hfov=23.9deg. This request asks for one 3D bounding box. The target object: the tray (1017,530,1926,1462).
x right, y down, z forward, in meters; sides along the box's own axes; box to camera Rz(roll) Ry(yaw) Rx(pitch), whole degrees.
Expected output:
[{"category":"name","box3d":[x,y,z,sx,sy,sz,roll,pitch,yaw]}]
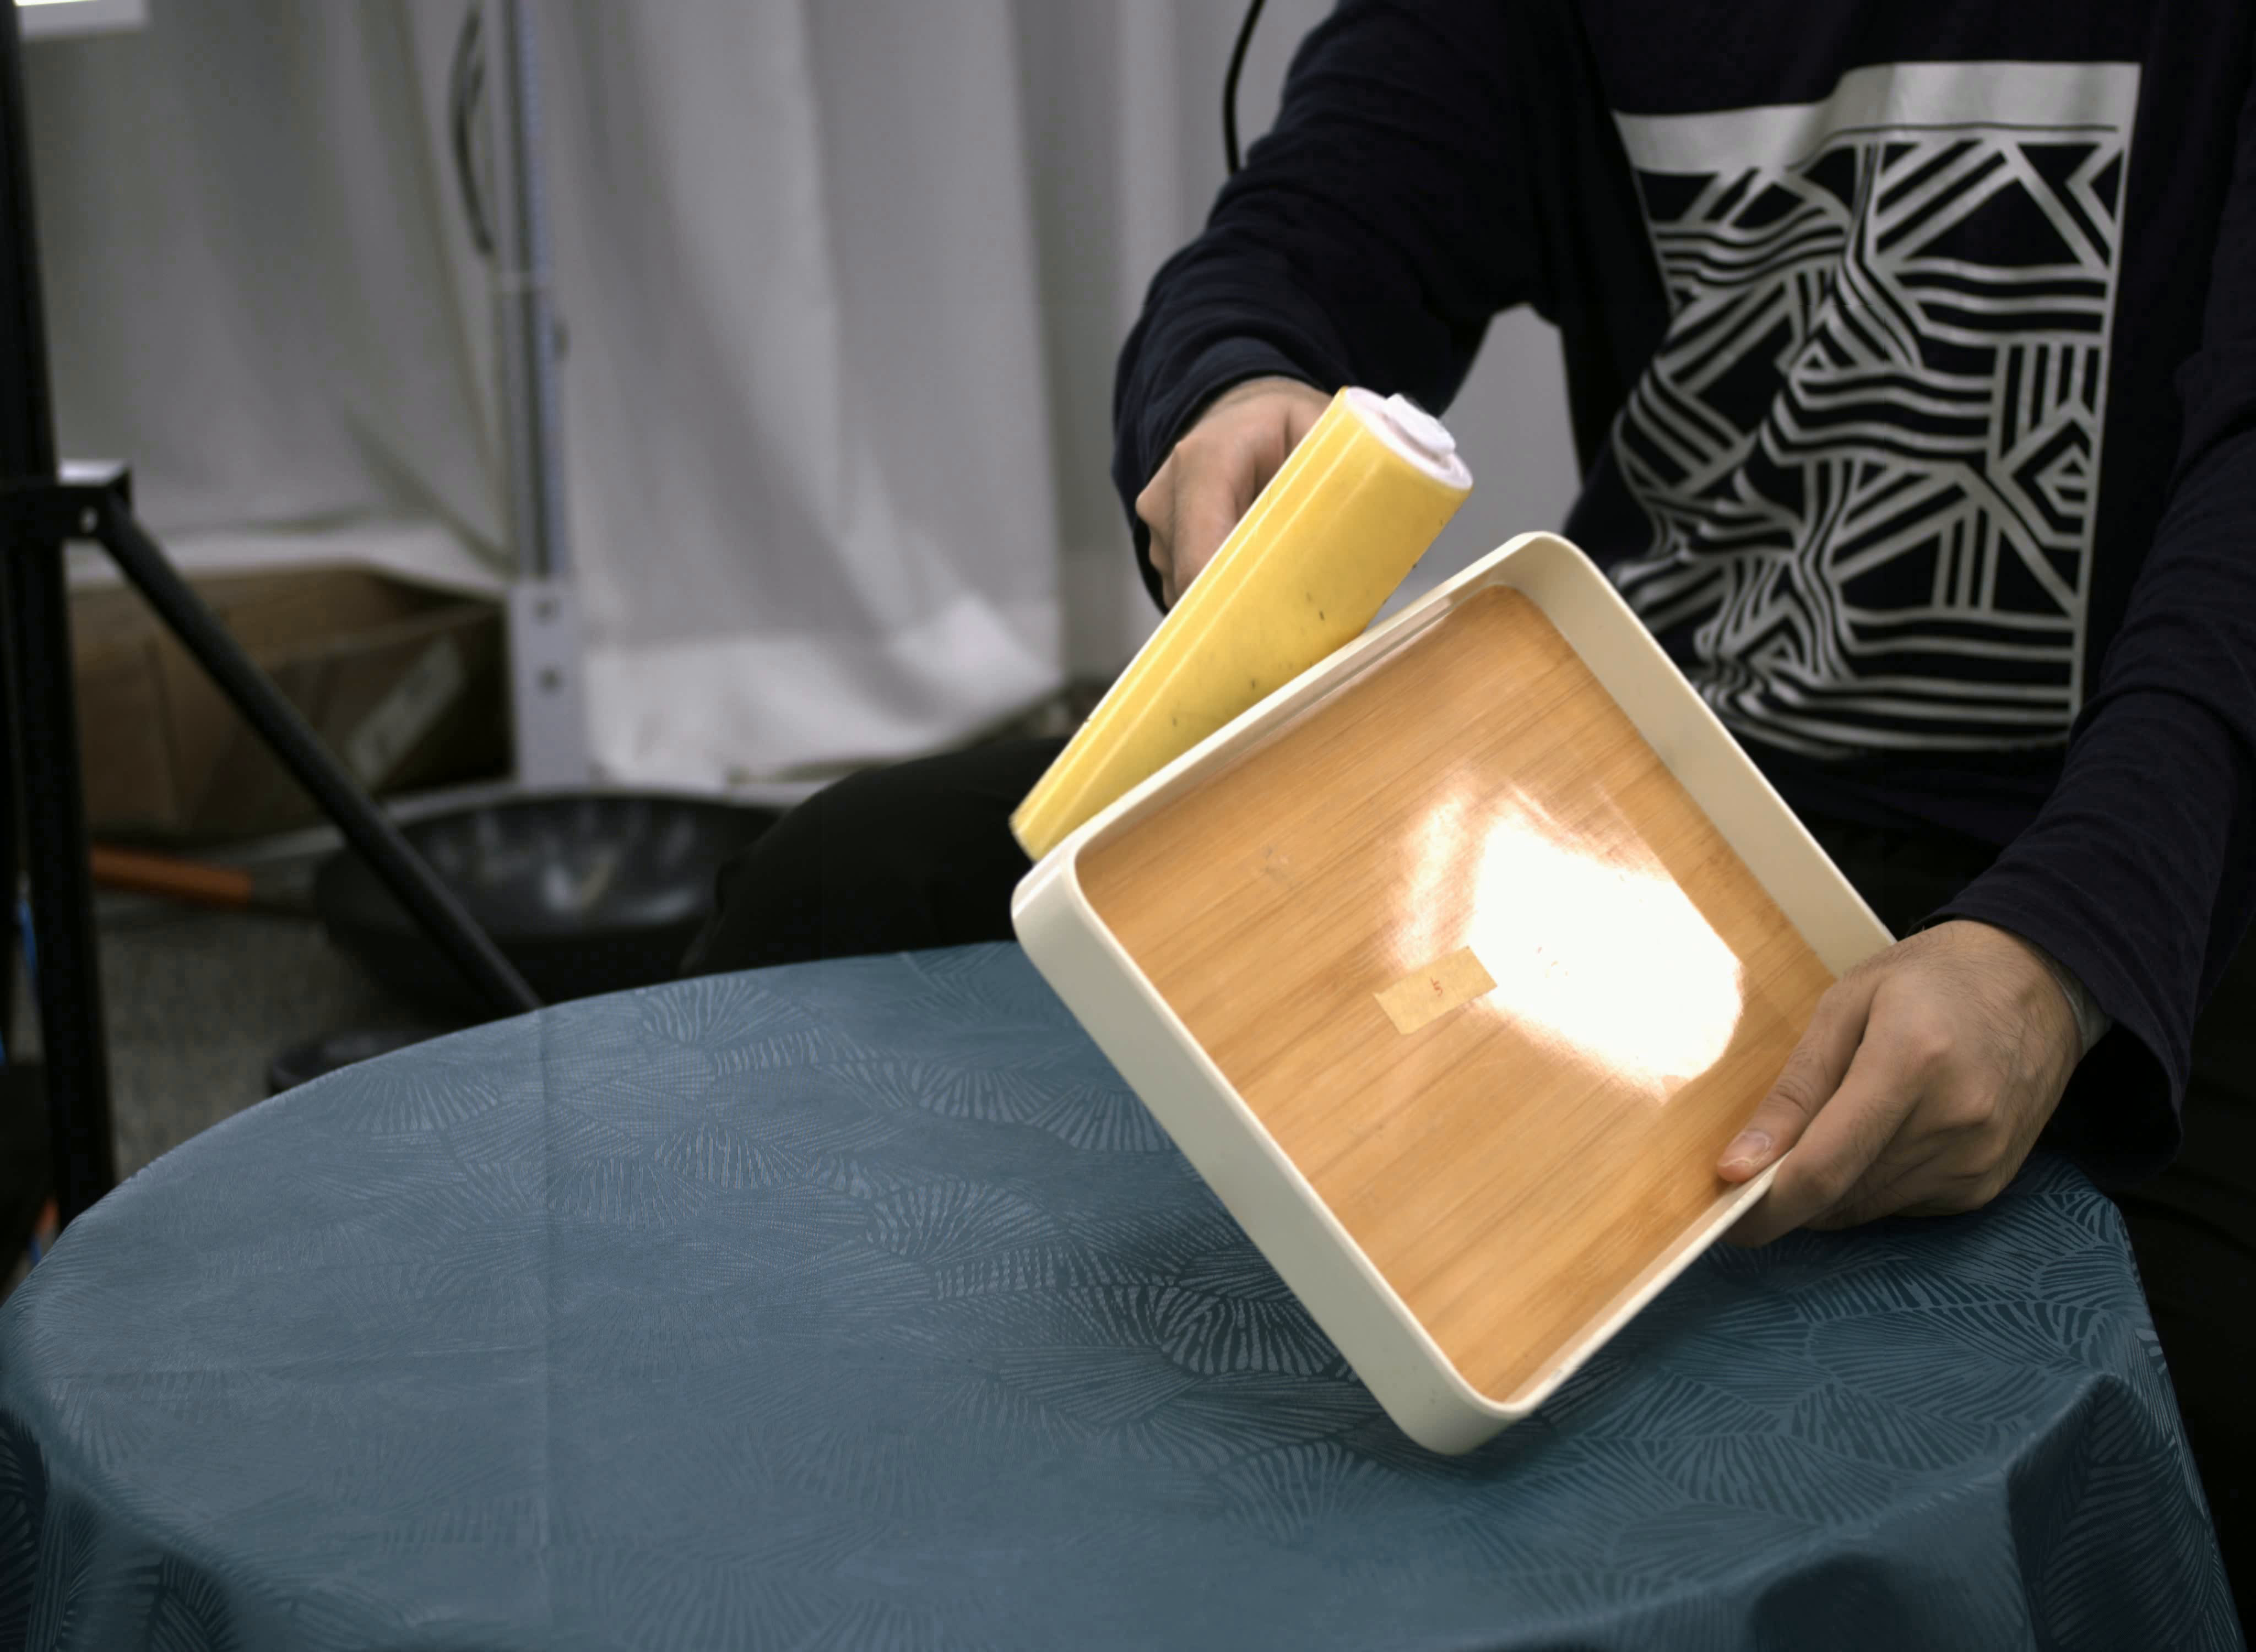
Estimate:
[{"category":"tray","box3d":[0.102,0.038,1.458,0.028,0.192,0.295,-42,-6,37]}]

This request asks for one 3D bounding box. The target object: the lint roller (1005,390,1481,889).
[{"category":"lint roller","box3d":[0.033,-0.071,1.574,0.051,0.175,0.193,35,17,-13]}]
